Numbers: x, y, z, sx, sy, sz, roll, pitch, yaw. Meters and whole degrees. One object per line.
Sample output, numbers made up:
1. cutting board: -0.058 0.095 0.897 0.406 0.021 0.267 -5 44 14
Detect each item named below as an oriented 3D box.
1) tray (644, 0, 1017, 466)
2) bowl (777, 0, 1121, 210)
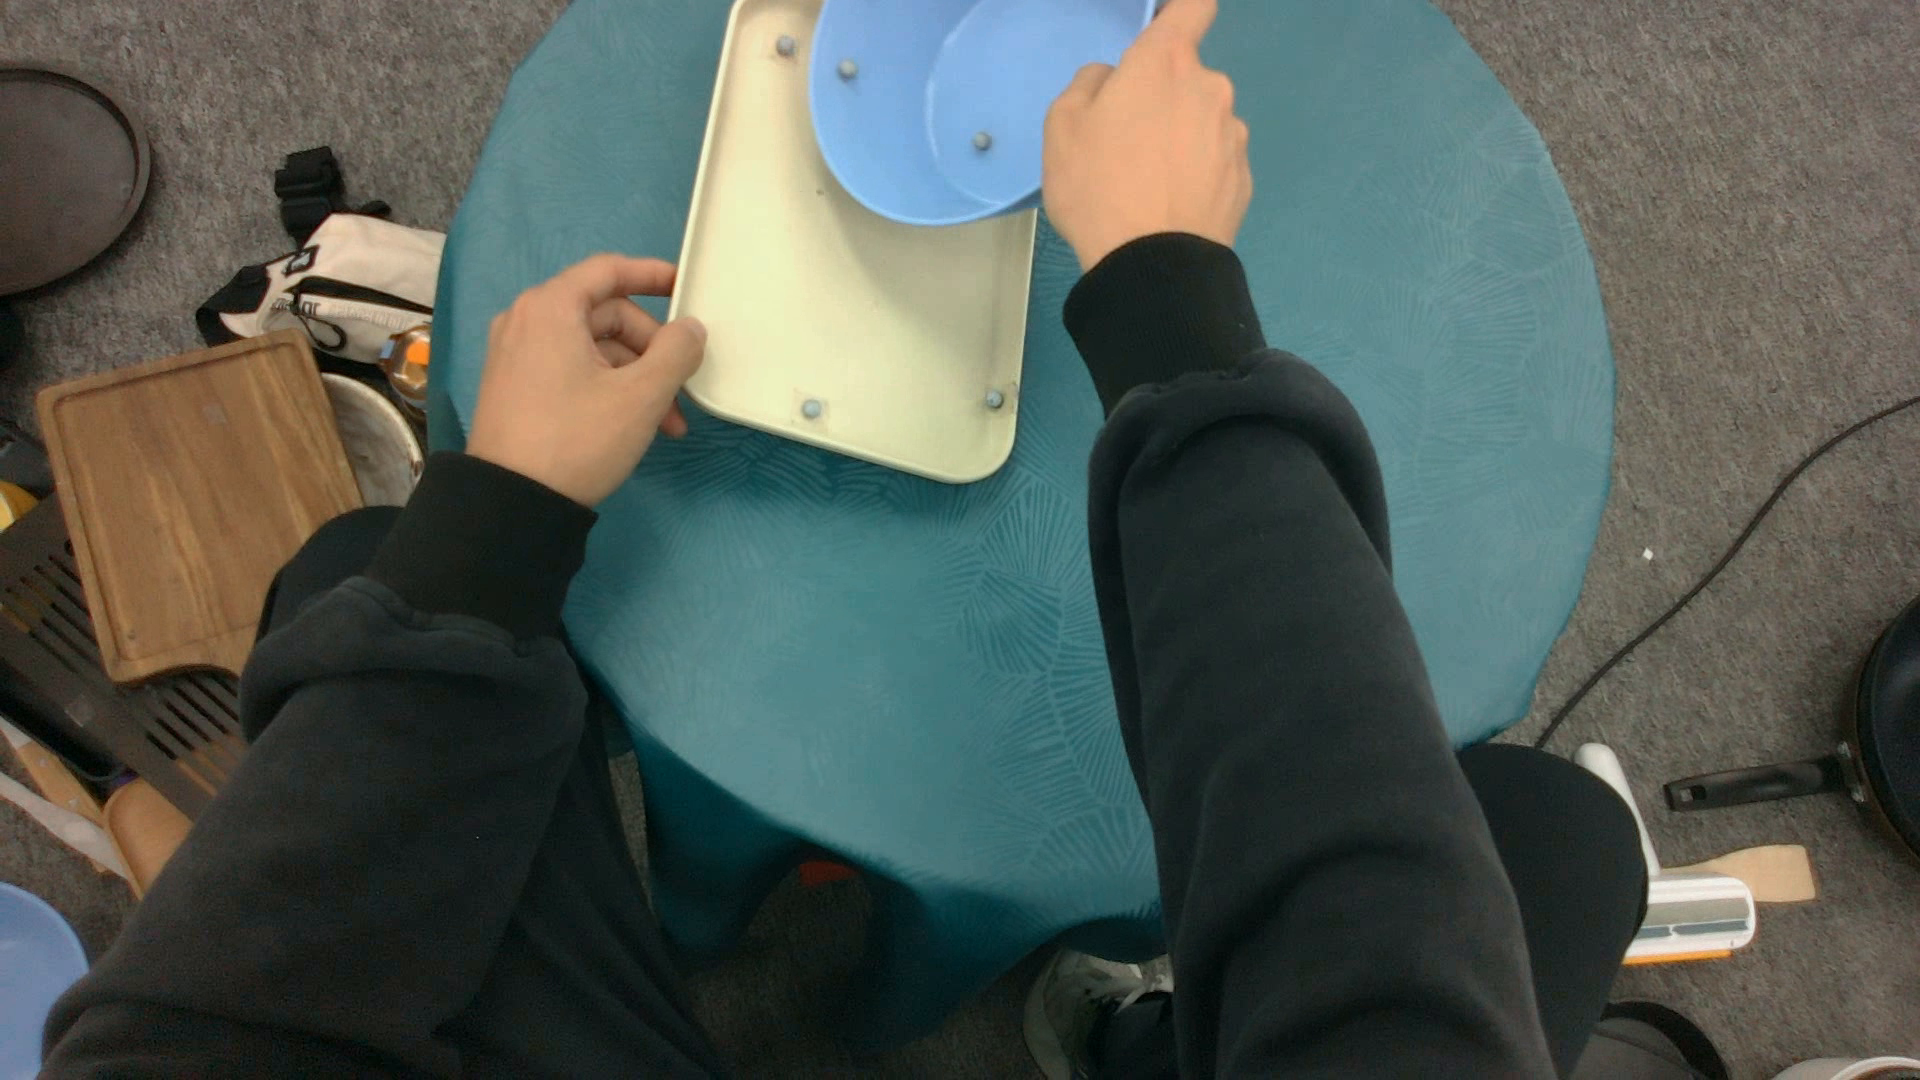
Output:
1. tray: -0.054 -0.156 0.663 0.171 0.017 0.240 15 67 -21
2. bowl: 0.005 -0.226 0.631 0.175 0.070 0.176 -5 79 29
